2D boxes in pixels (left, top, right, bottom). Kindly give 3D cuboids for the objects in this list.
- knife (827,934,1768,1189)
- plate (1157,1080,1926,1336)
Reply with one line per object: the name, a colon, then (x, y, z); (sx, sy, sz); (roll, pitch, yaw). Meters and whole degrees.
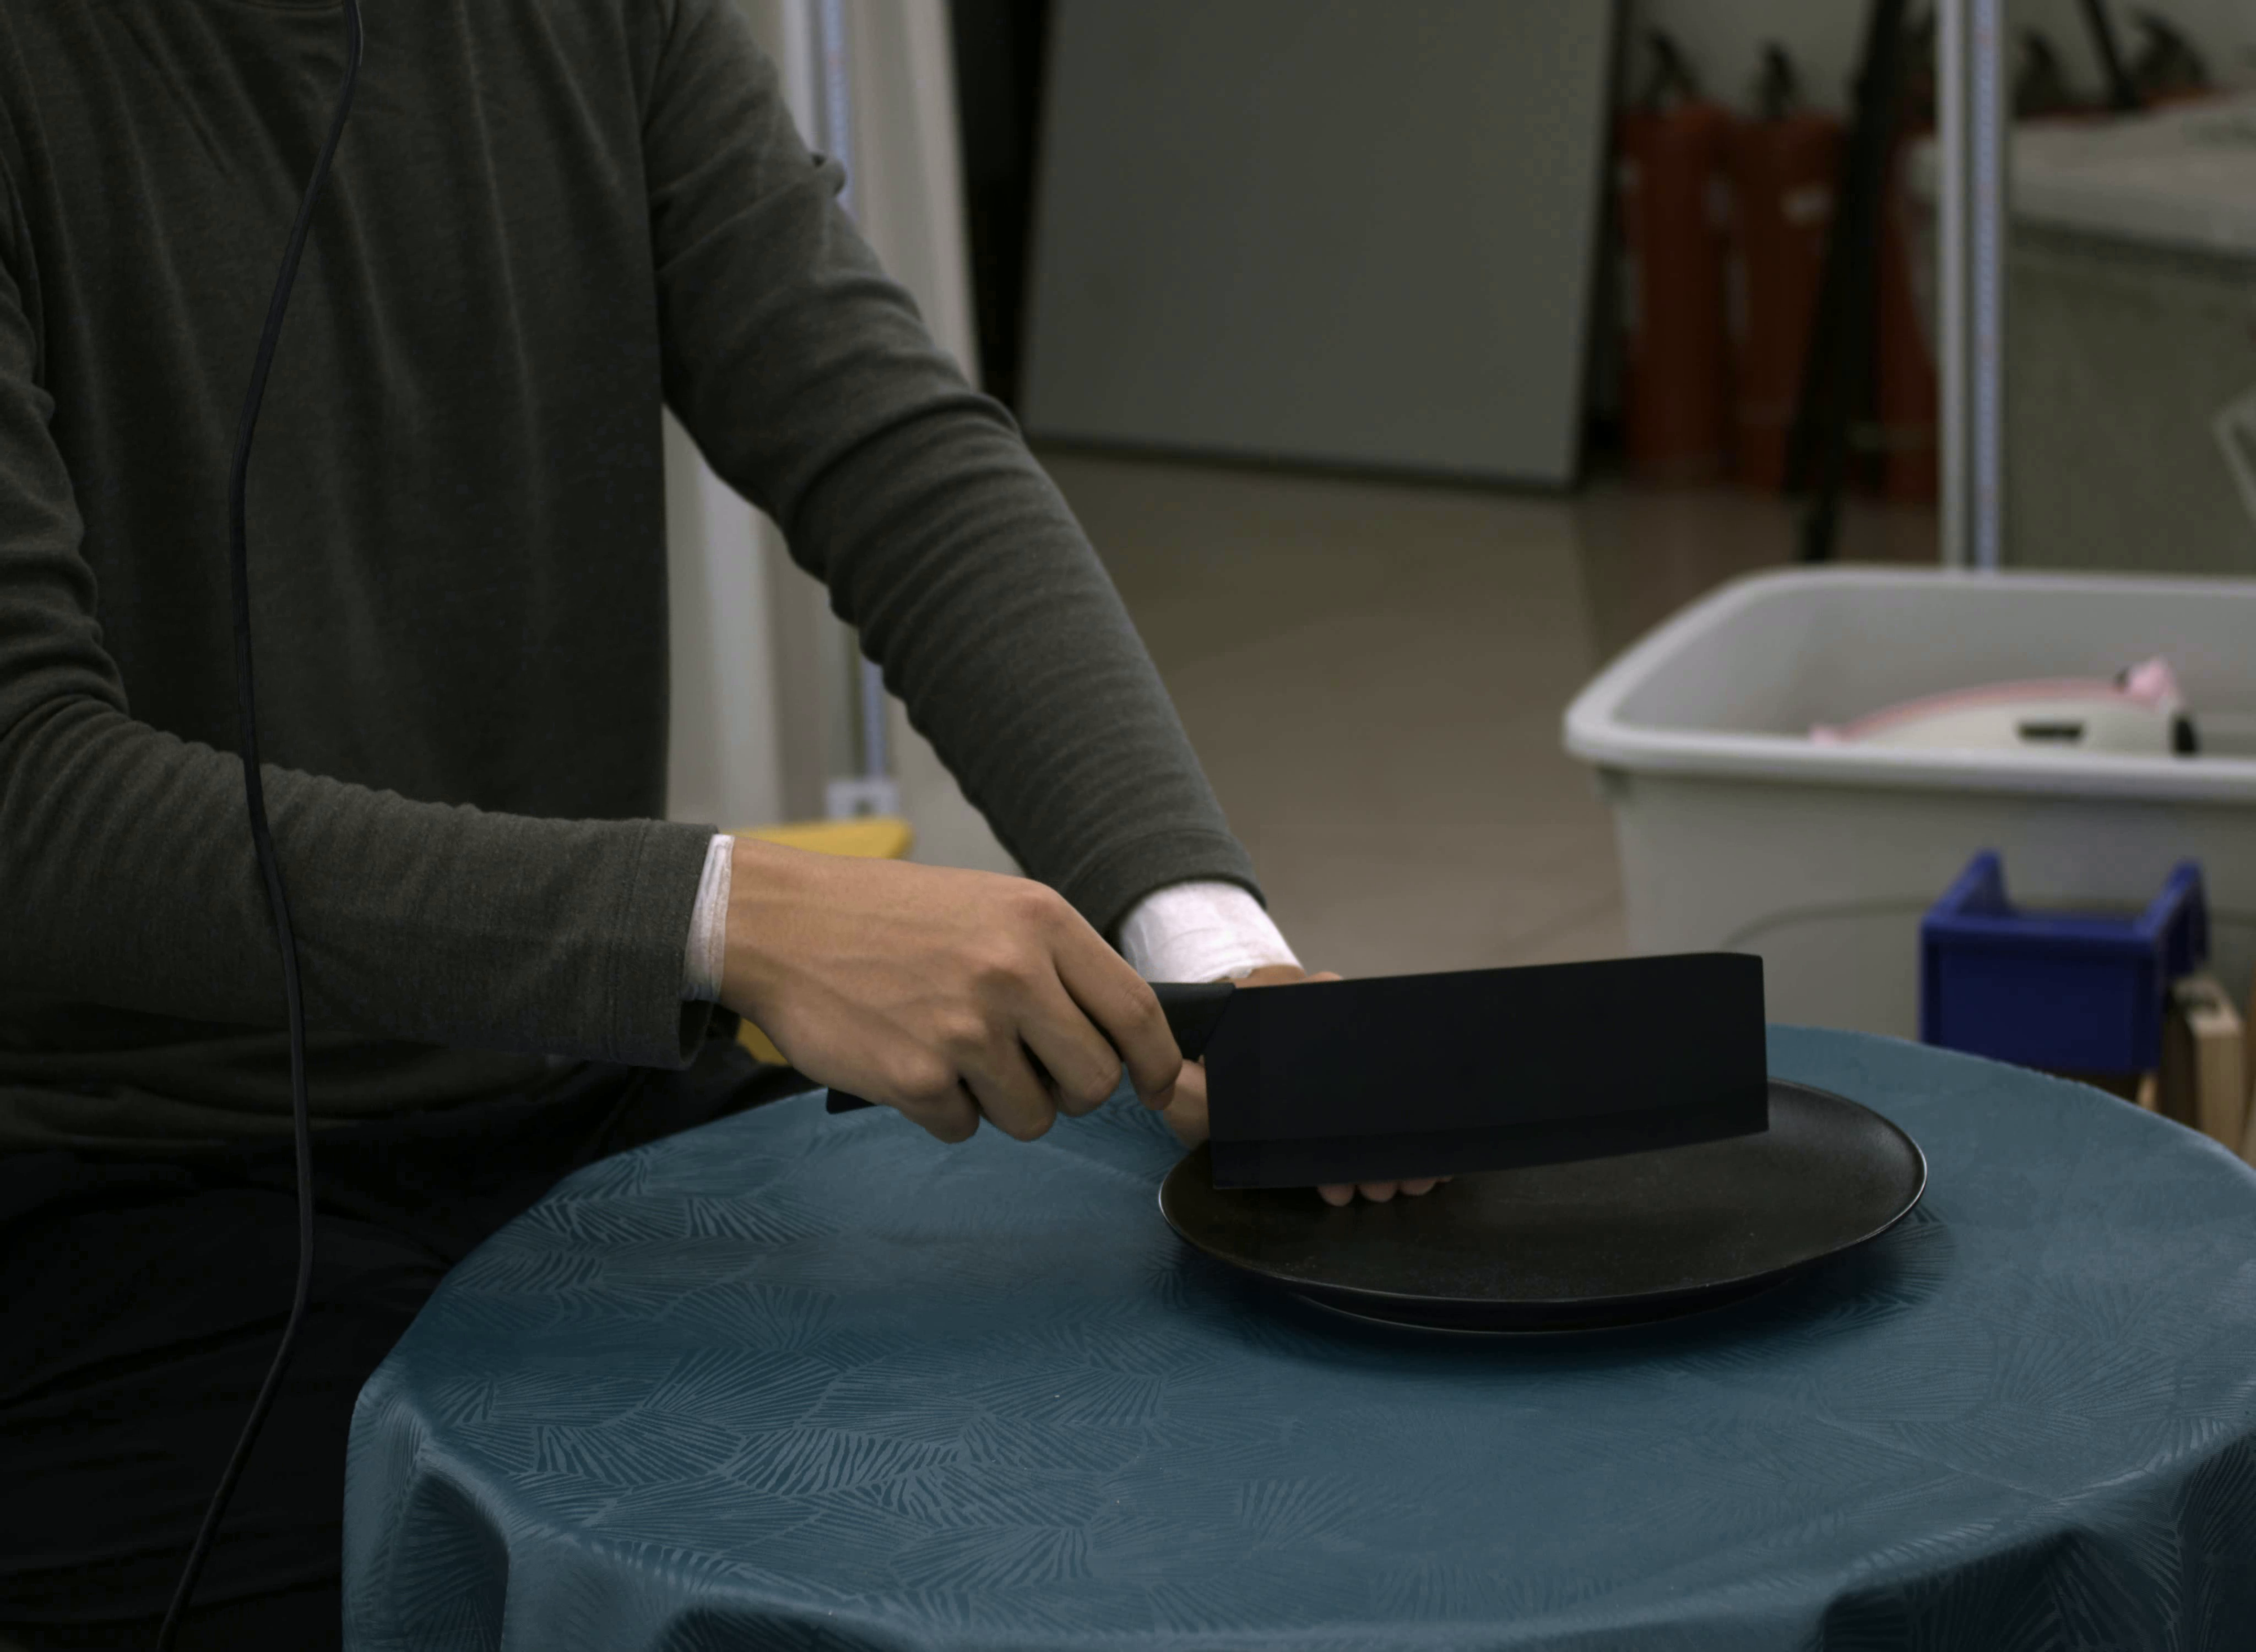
knife: (0.054, 0.075, 1.700); (0.298, 0.082, 0.021); (0, 7, -1)
plate: (0.130, 0.120, 1.693); (0.241, 0.024, 0.245); (-4, 13, 0)
